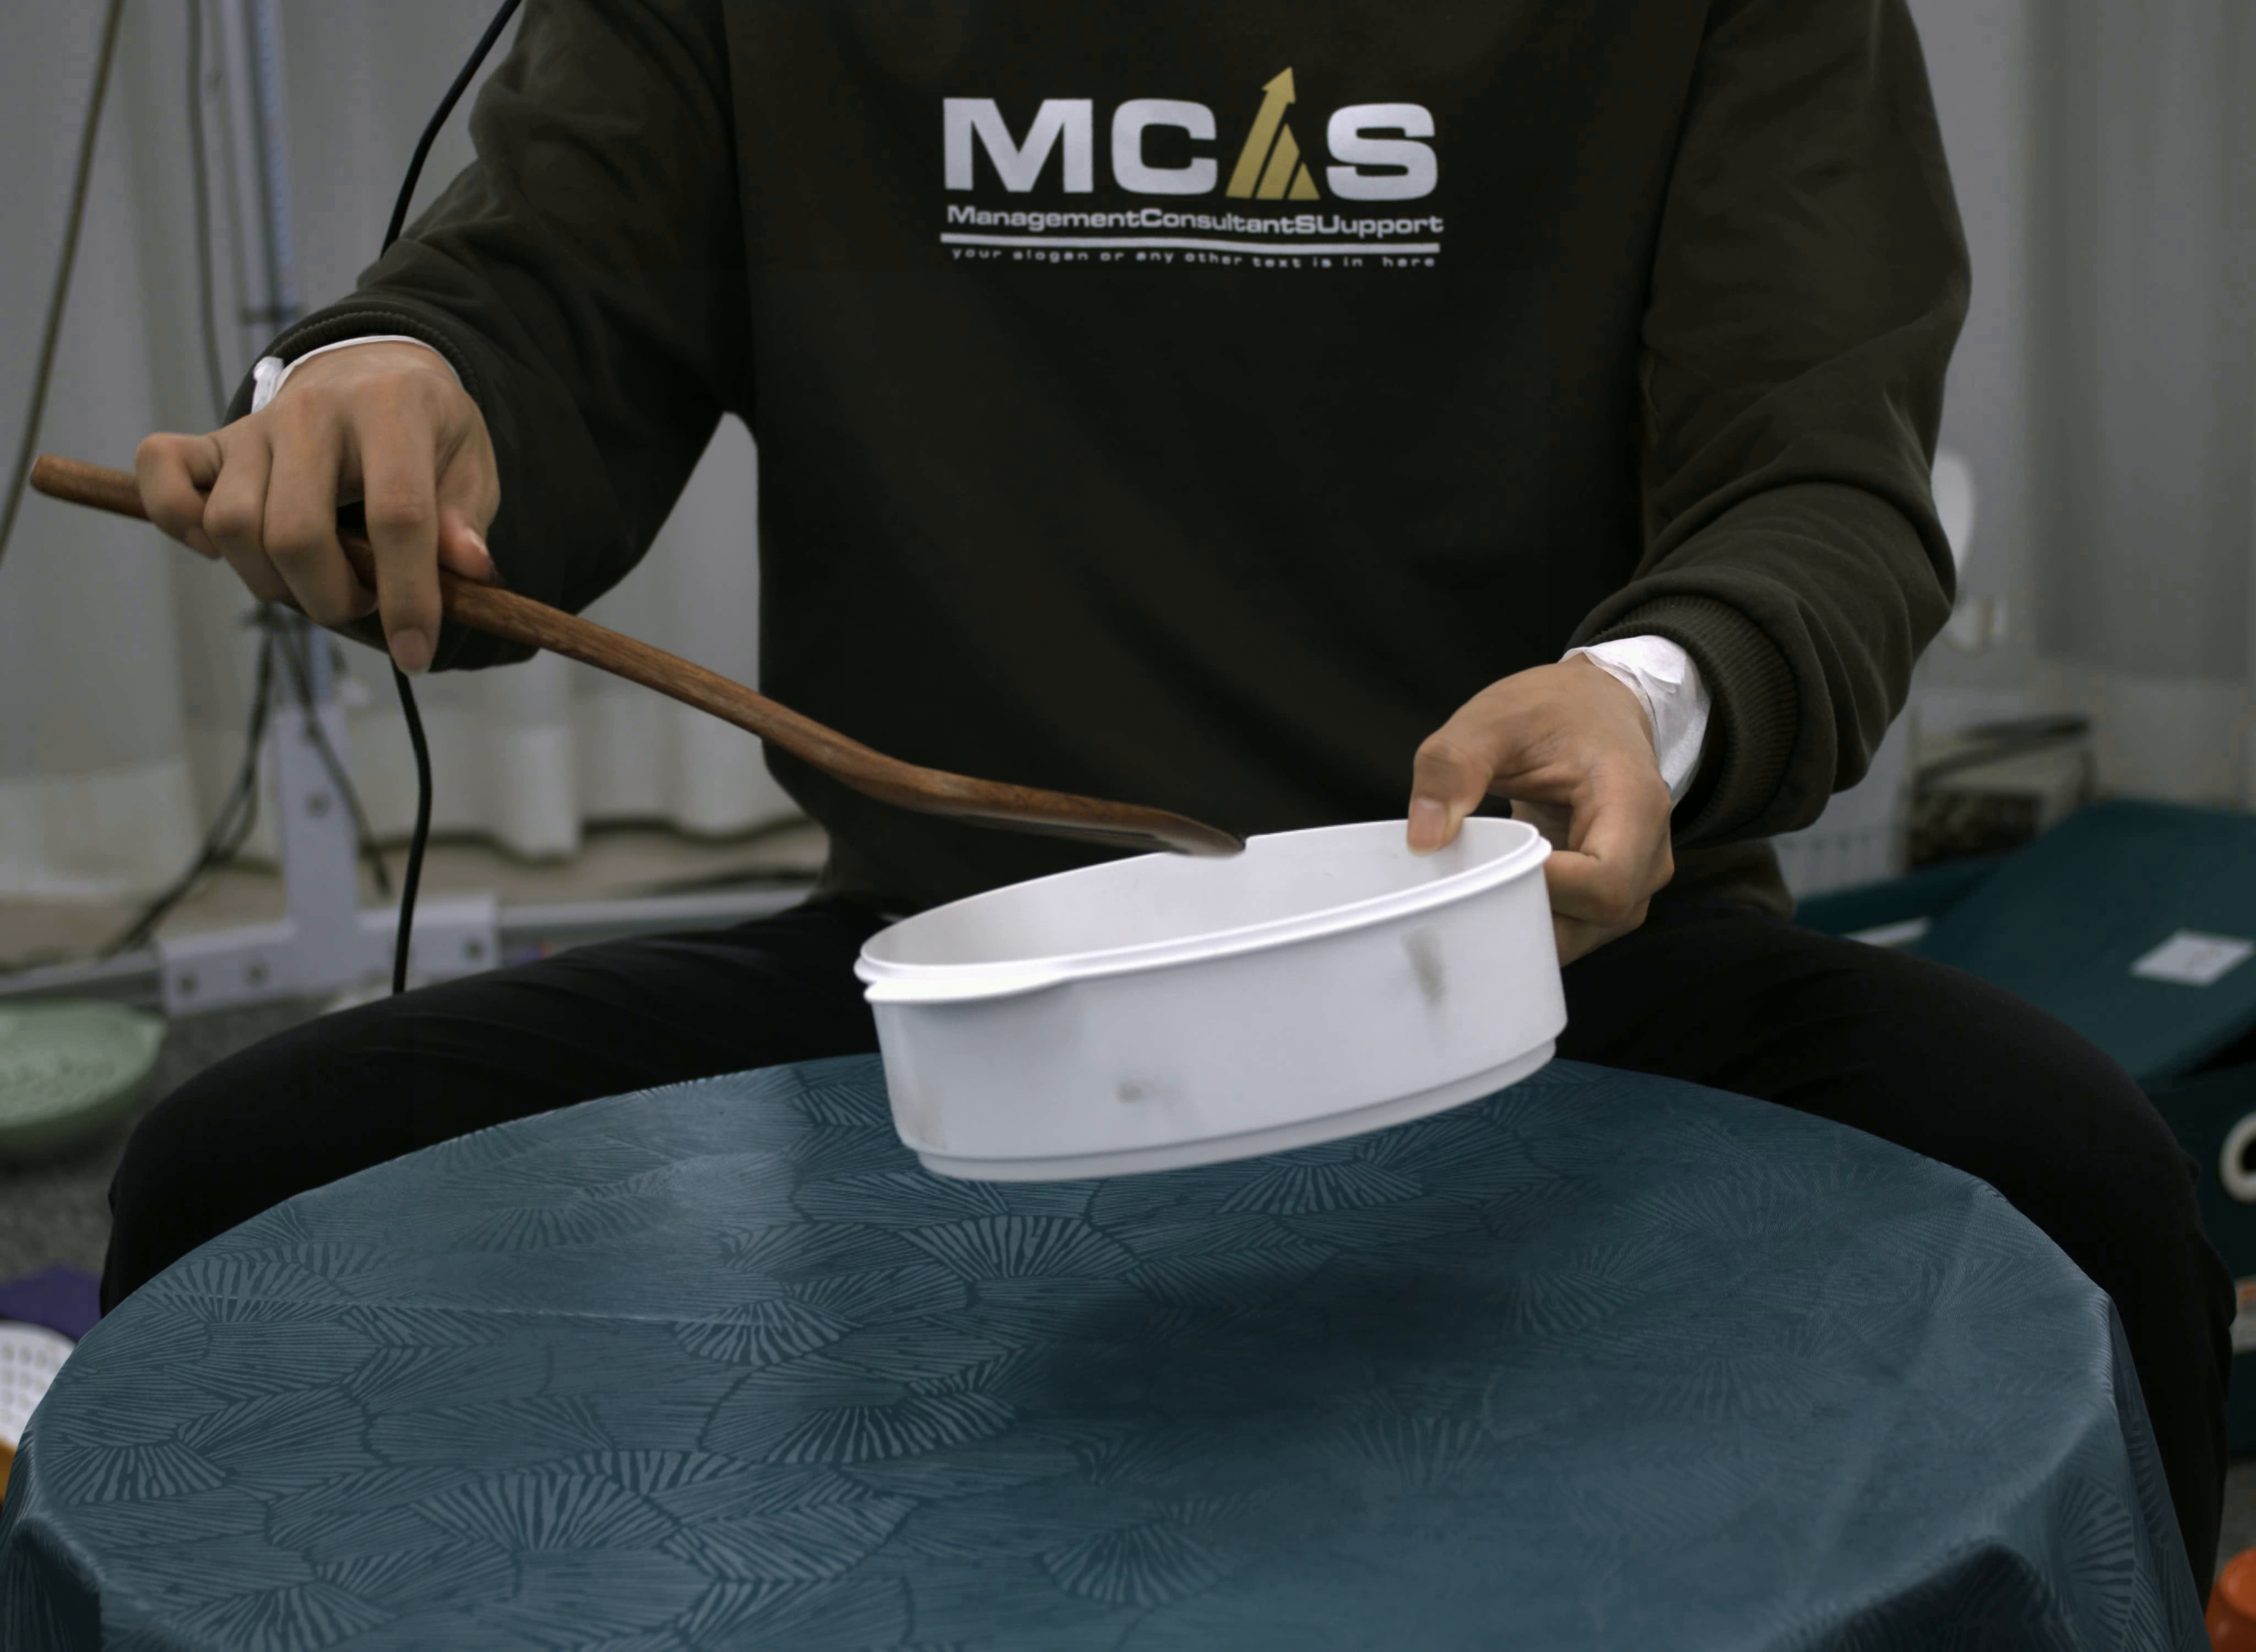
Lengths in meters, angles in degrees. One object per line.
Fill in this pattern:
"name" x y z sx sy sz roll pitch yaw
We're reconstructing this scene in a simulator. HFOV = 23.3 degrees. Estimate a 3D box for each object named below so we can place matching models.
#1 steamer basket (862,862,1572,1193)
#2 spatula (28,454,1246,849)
"steamer basket" 0.027 0.057 1.550 0.202 0.069 0.230 -2 7 44
"spatula" -0.150 -0.048 1.591 0.386 0.024 0.085 19 0 14
